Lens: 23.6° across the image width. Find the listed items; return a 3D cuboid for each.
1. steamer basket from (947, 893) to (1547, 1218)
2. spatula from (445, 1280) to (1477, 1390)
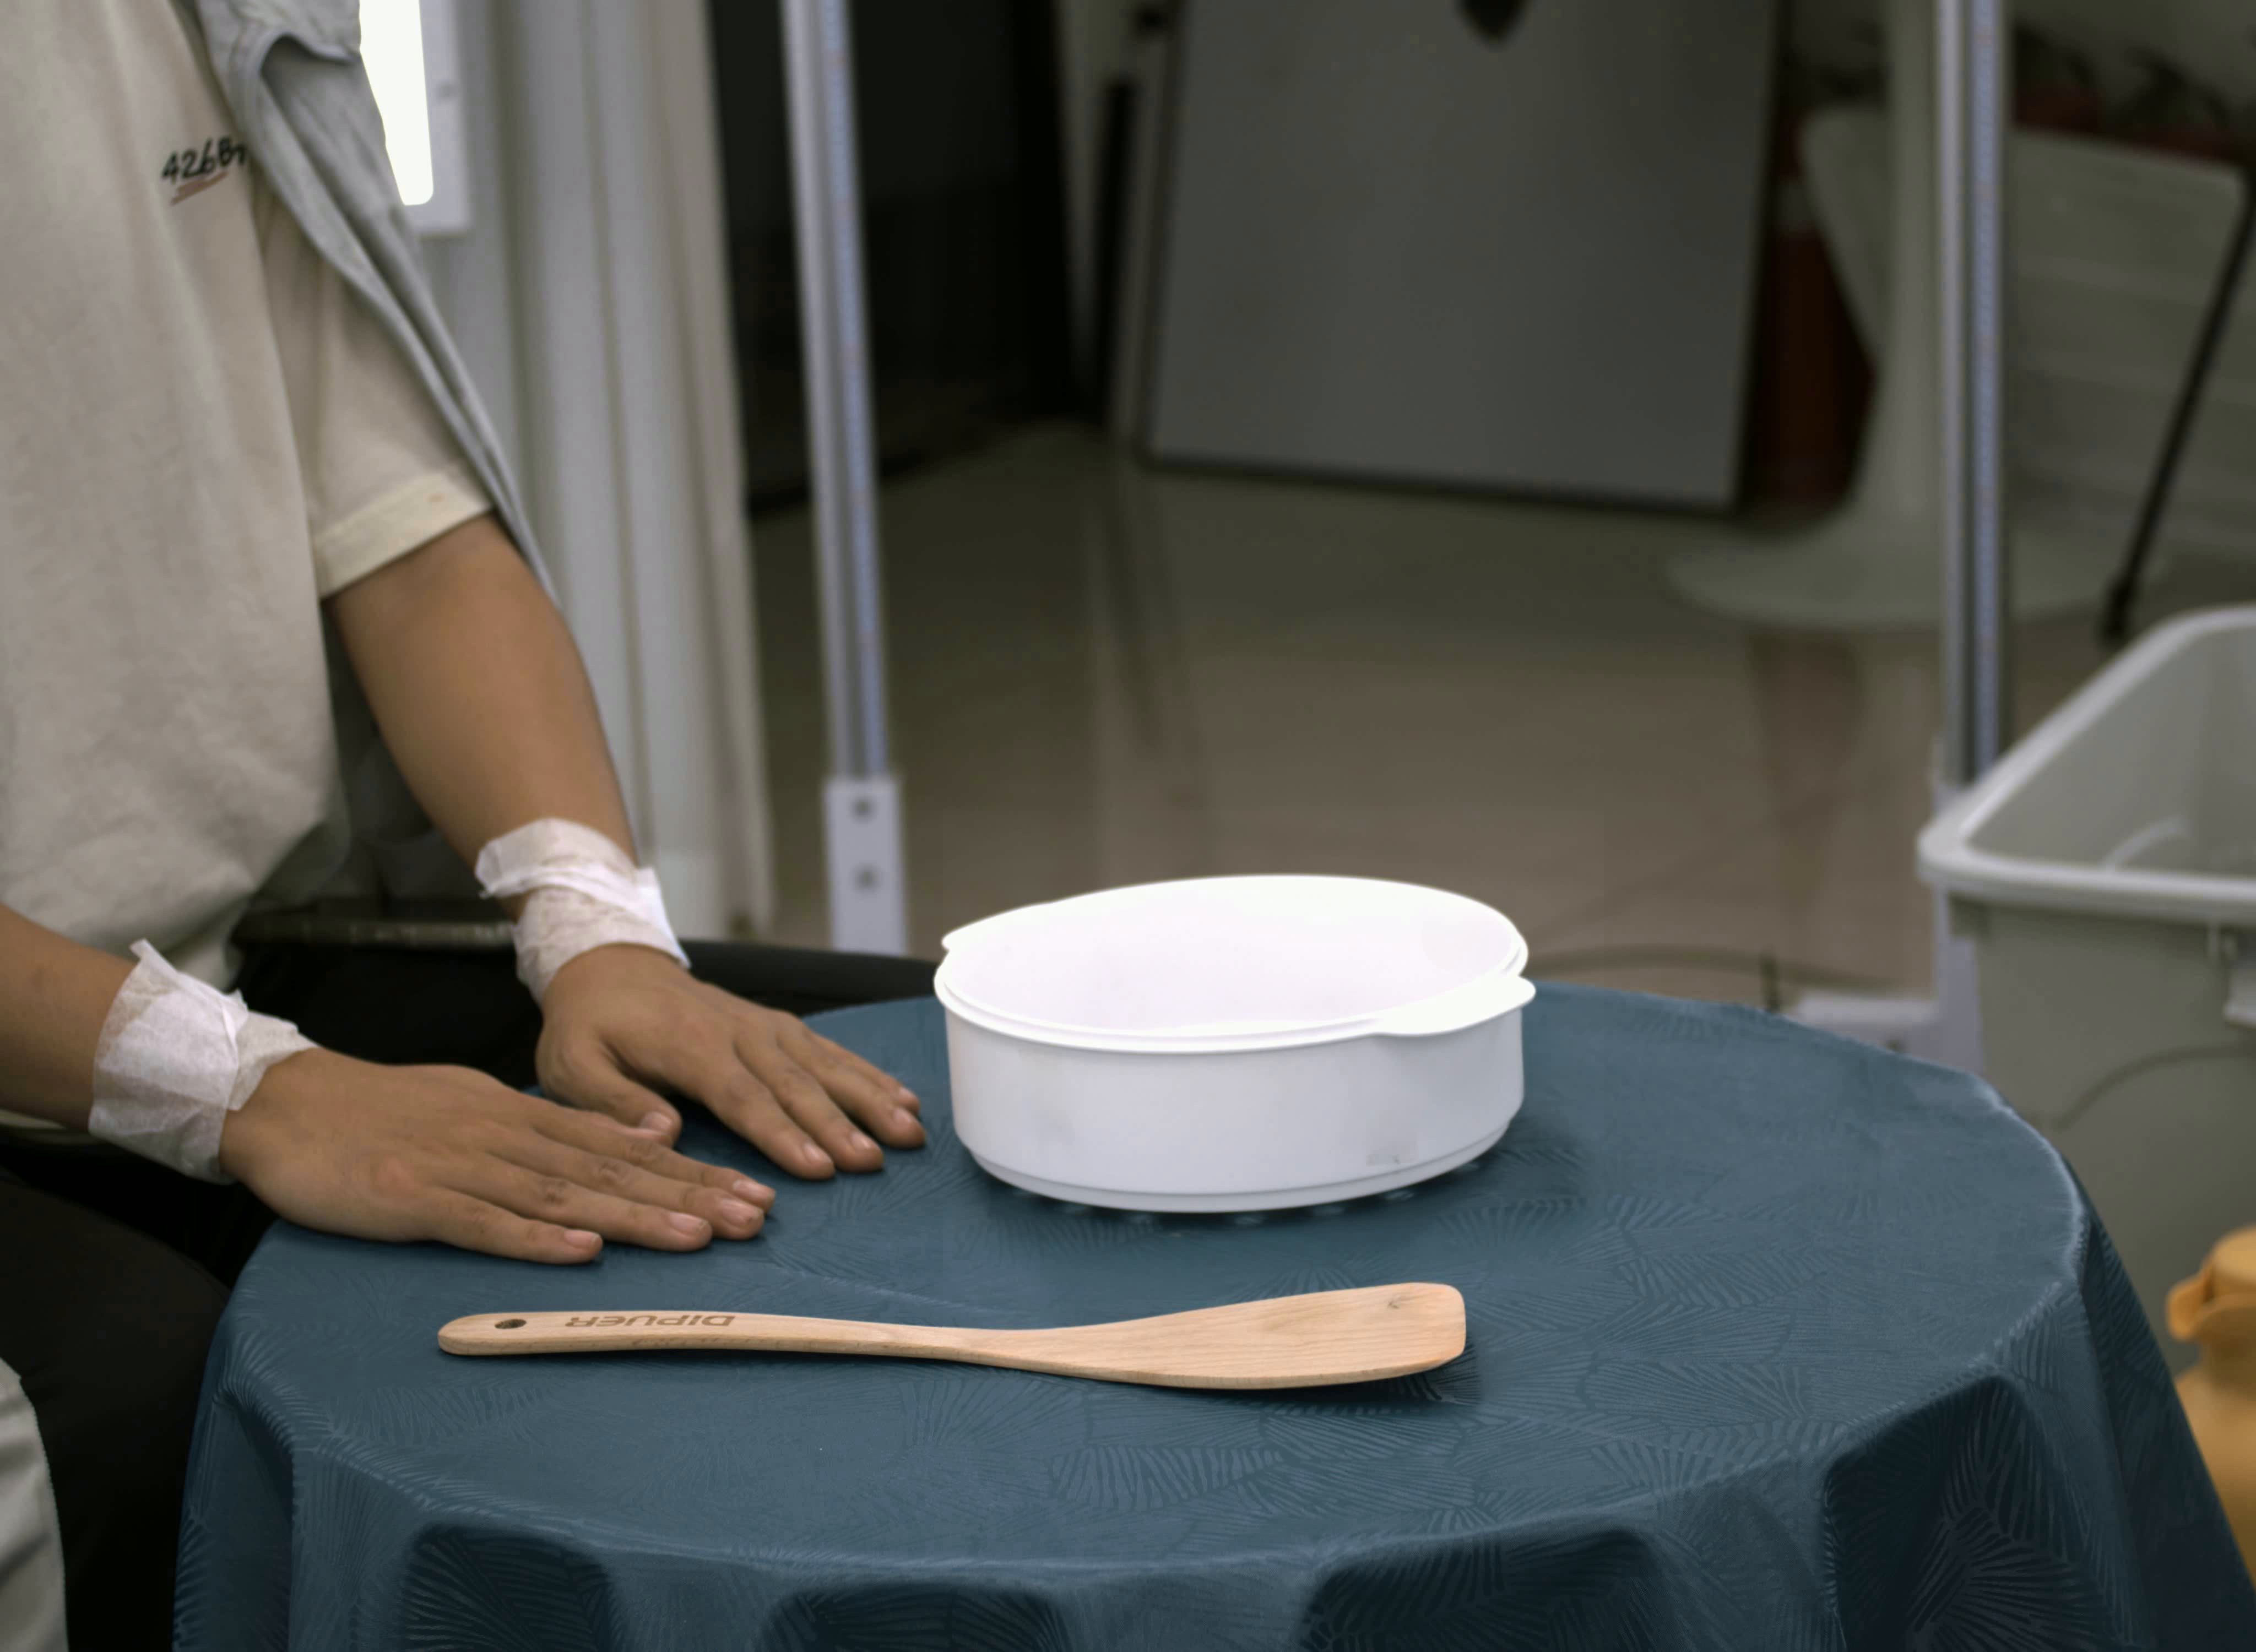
[{"bbox_3d":[0.040,0.077,1.808,0.232,0.070,0.198,8,17,43],"label":"steamer basket"},{"bbox_3d":[-0.051,0.153,1.625,0.326,0.017,0.079,-1,13,14],"label":"spatula"}]
